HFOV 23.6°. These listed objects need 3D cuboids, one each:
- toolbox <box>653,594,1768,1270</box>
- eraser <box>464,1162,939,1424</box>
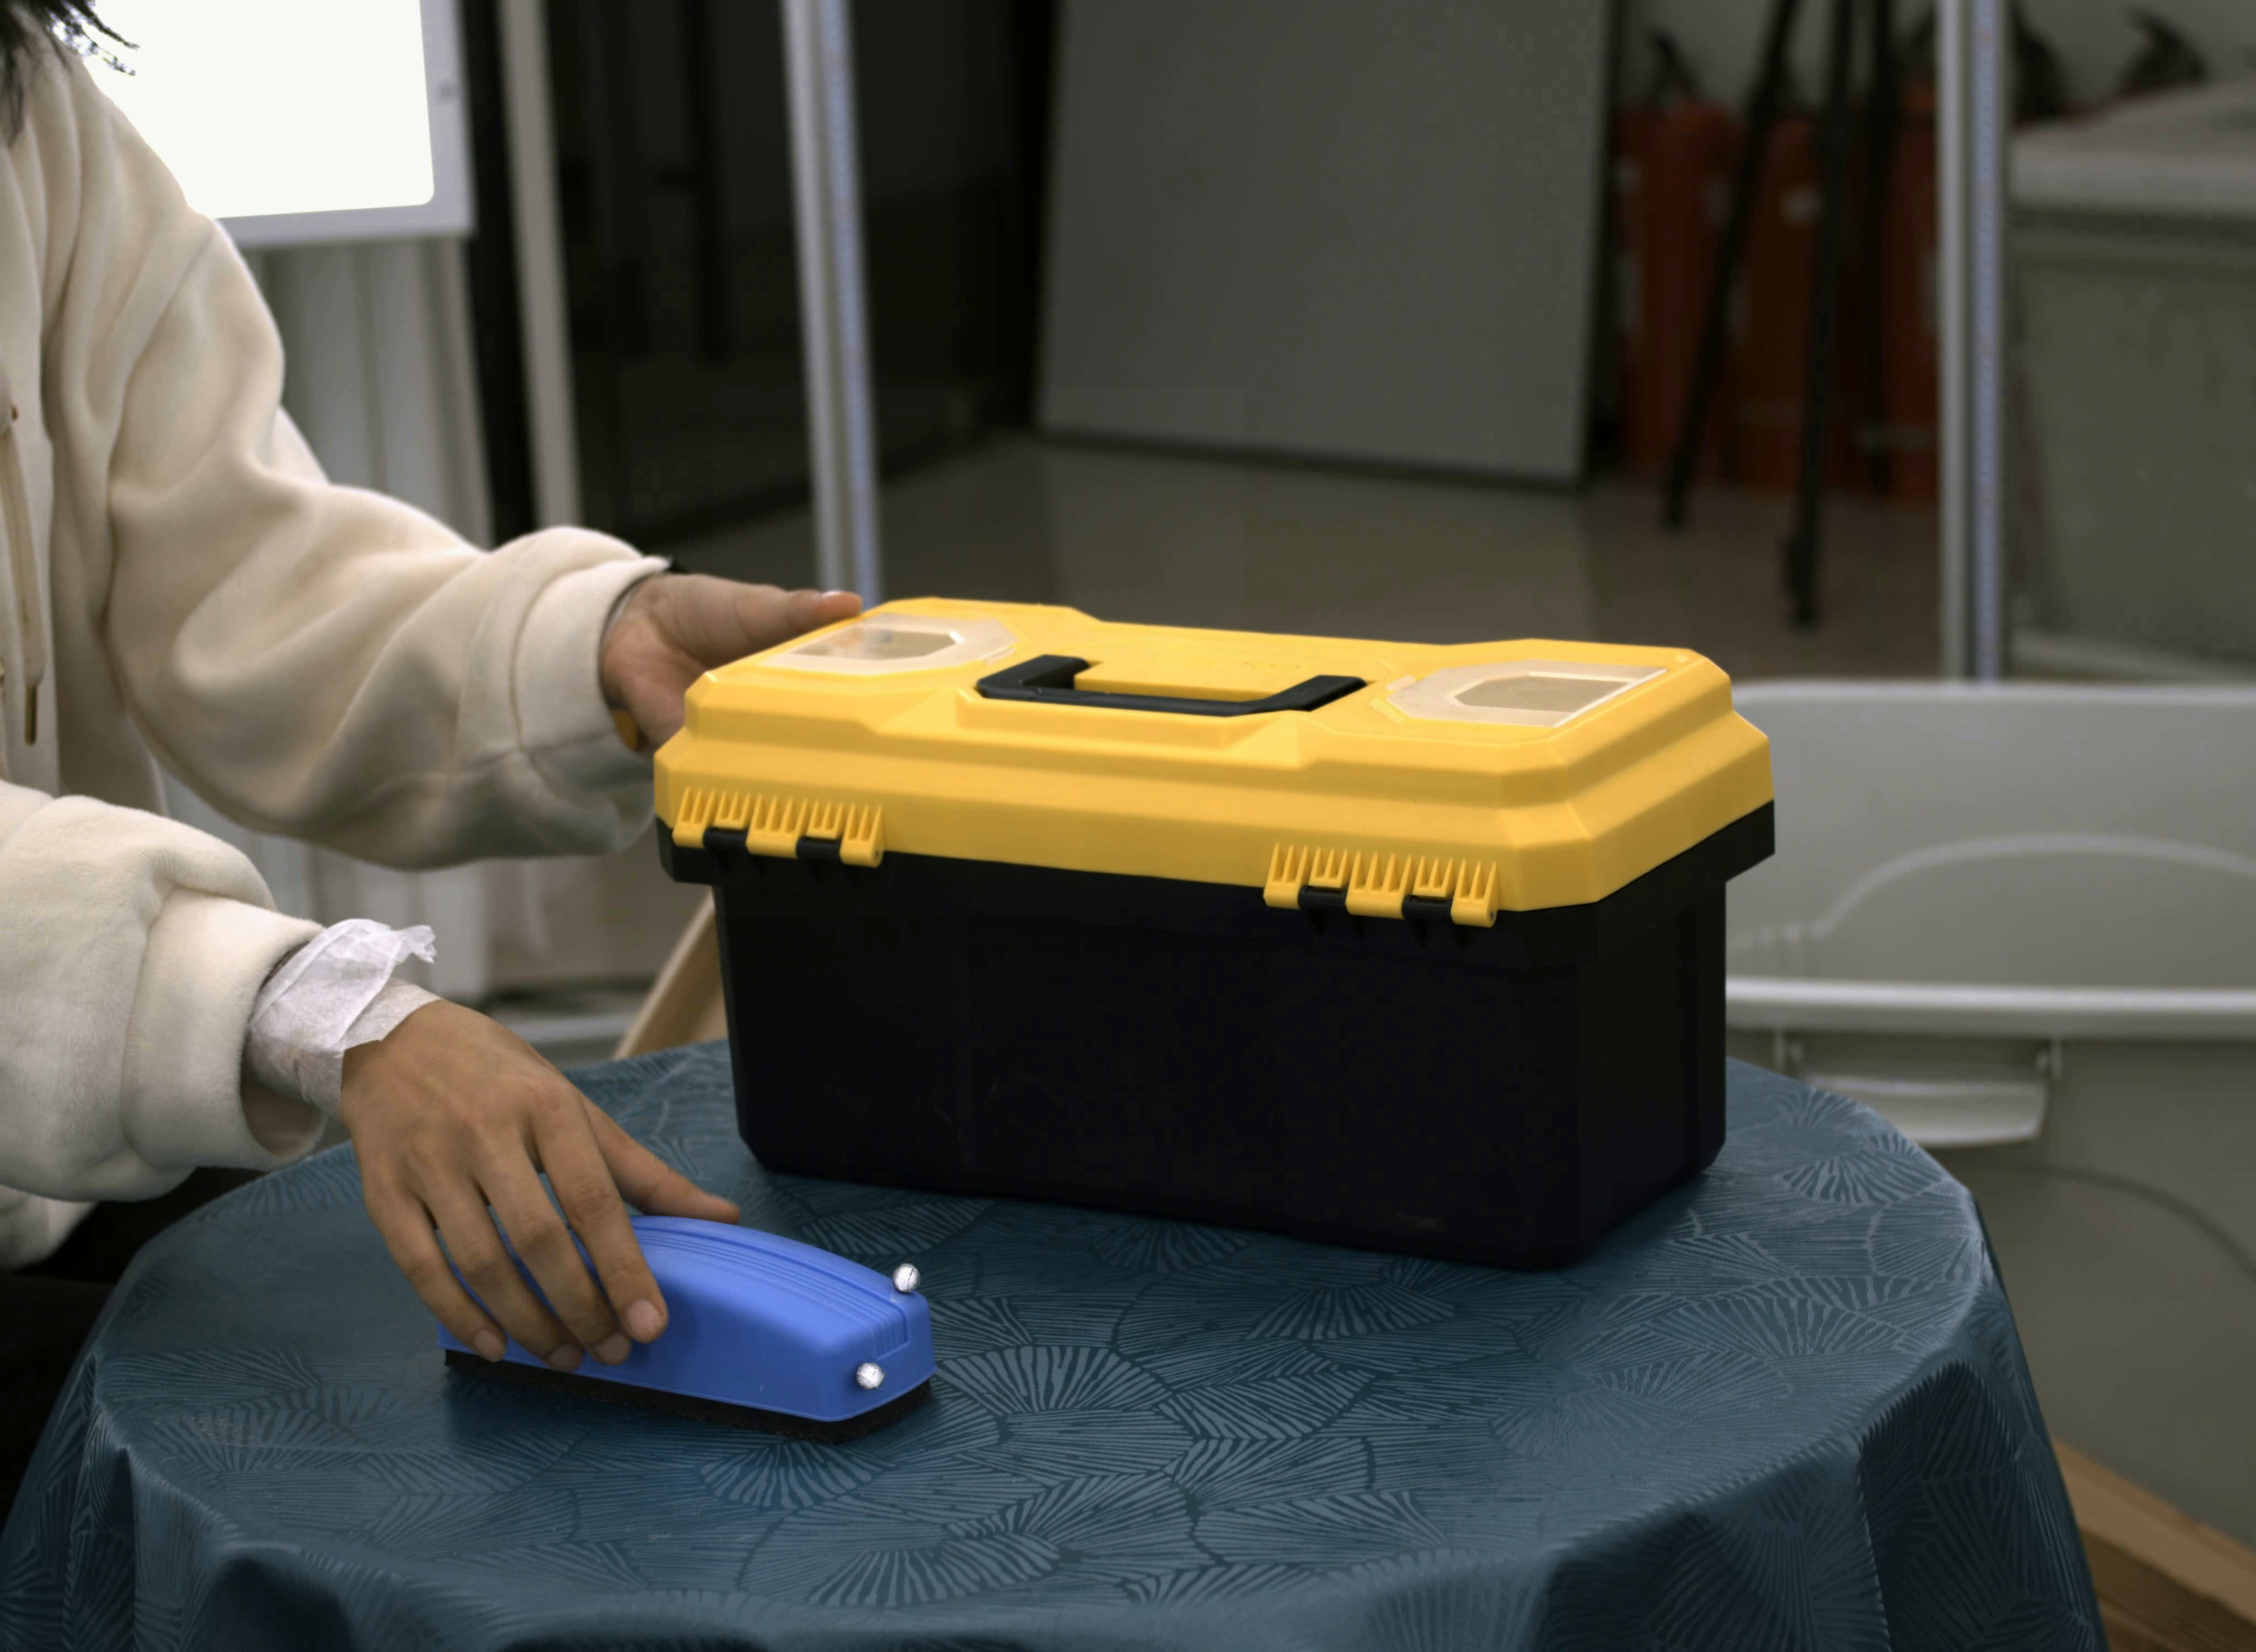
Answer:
[{"bbox_3d":[0.027,0.029,1.770,0.353,0.174,0.178,5,17,33],"label":"toolbox"},{"bbox_3d":[-0.130,0.134,1.626,0.163,0.048,0.053,11,28,40],"label":"eraser"}]
